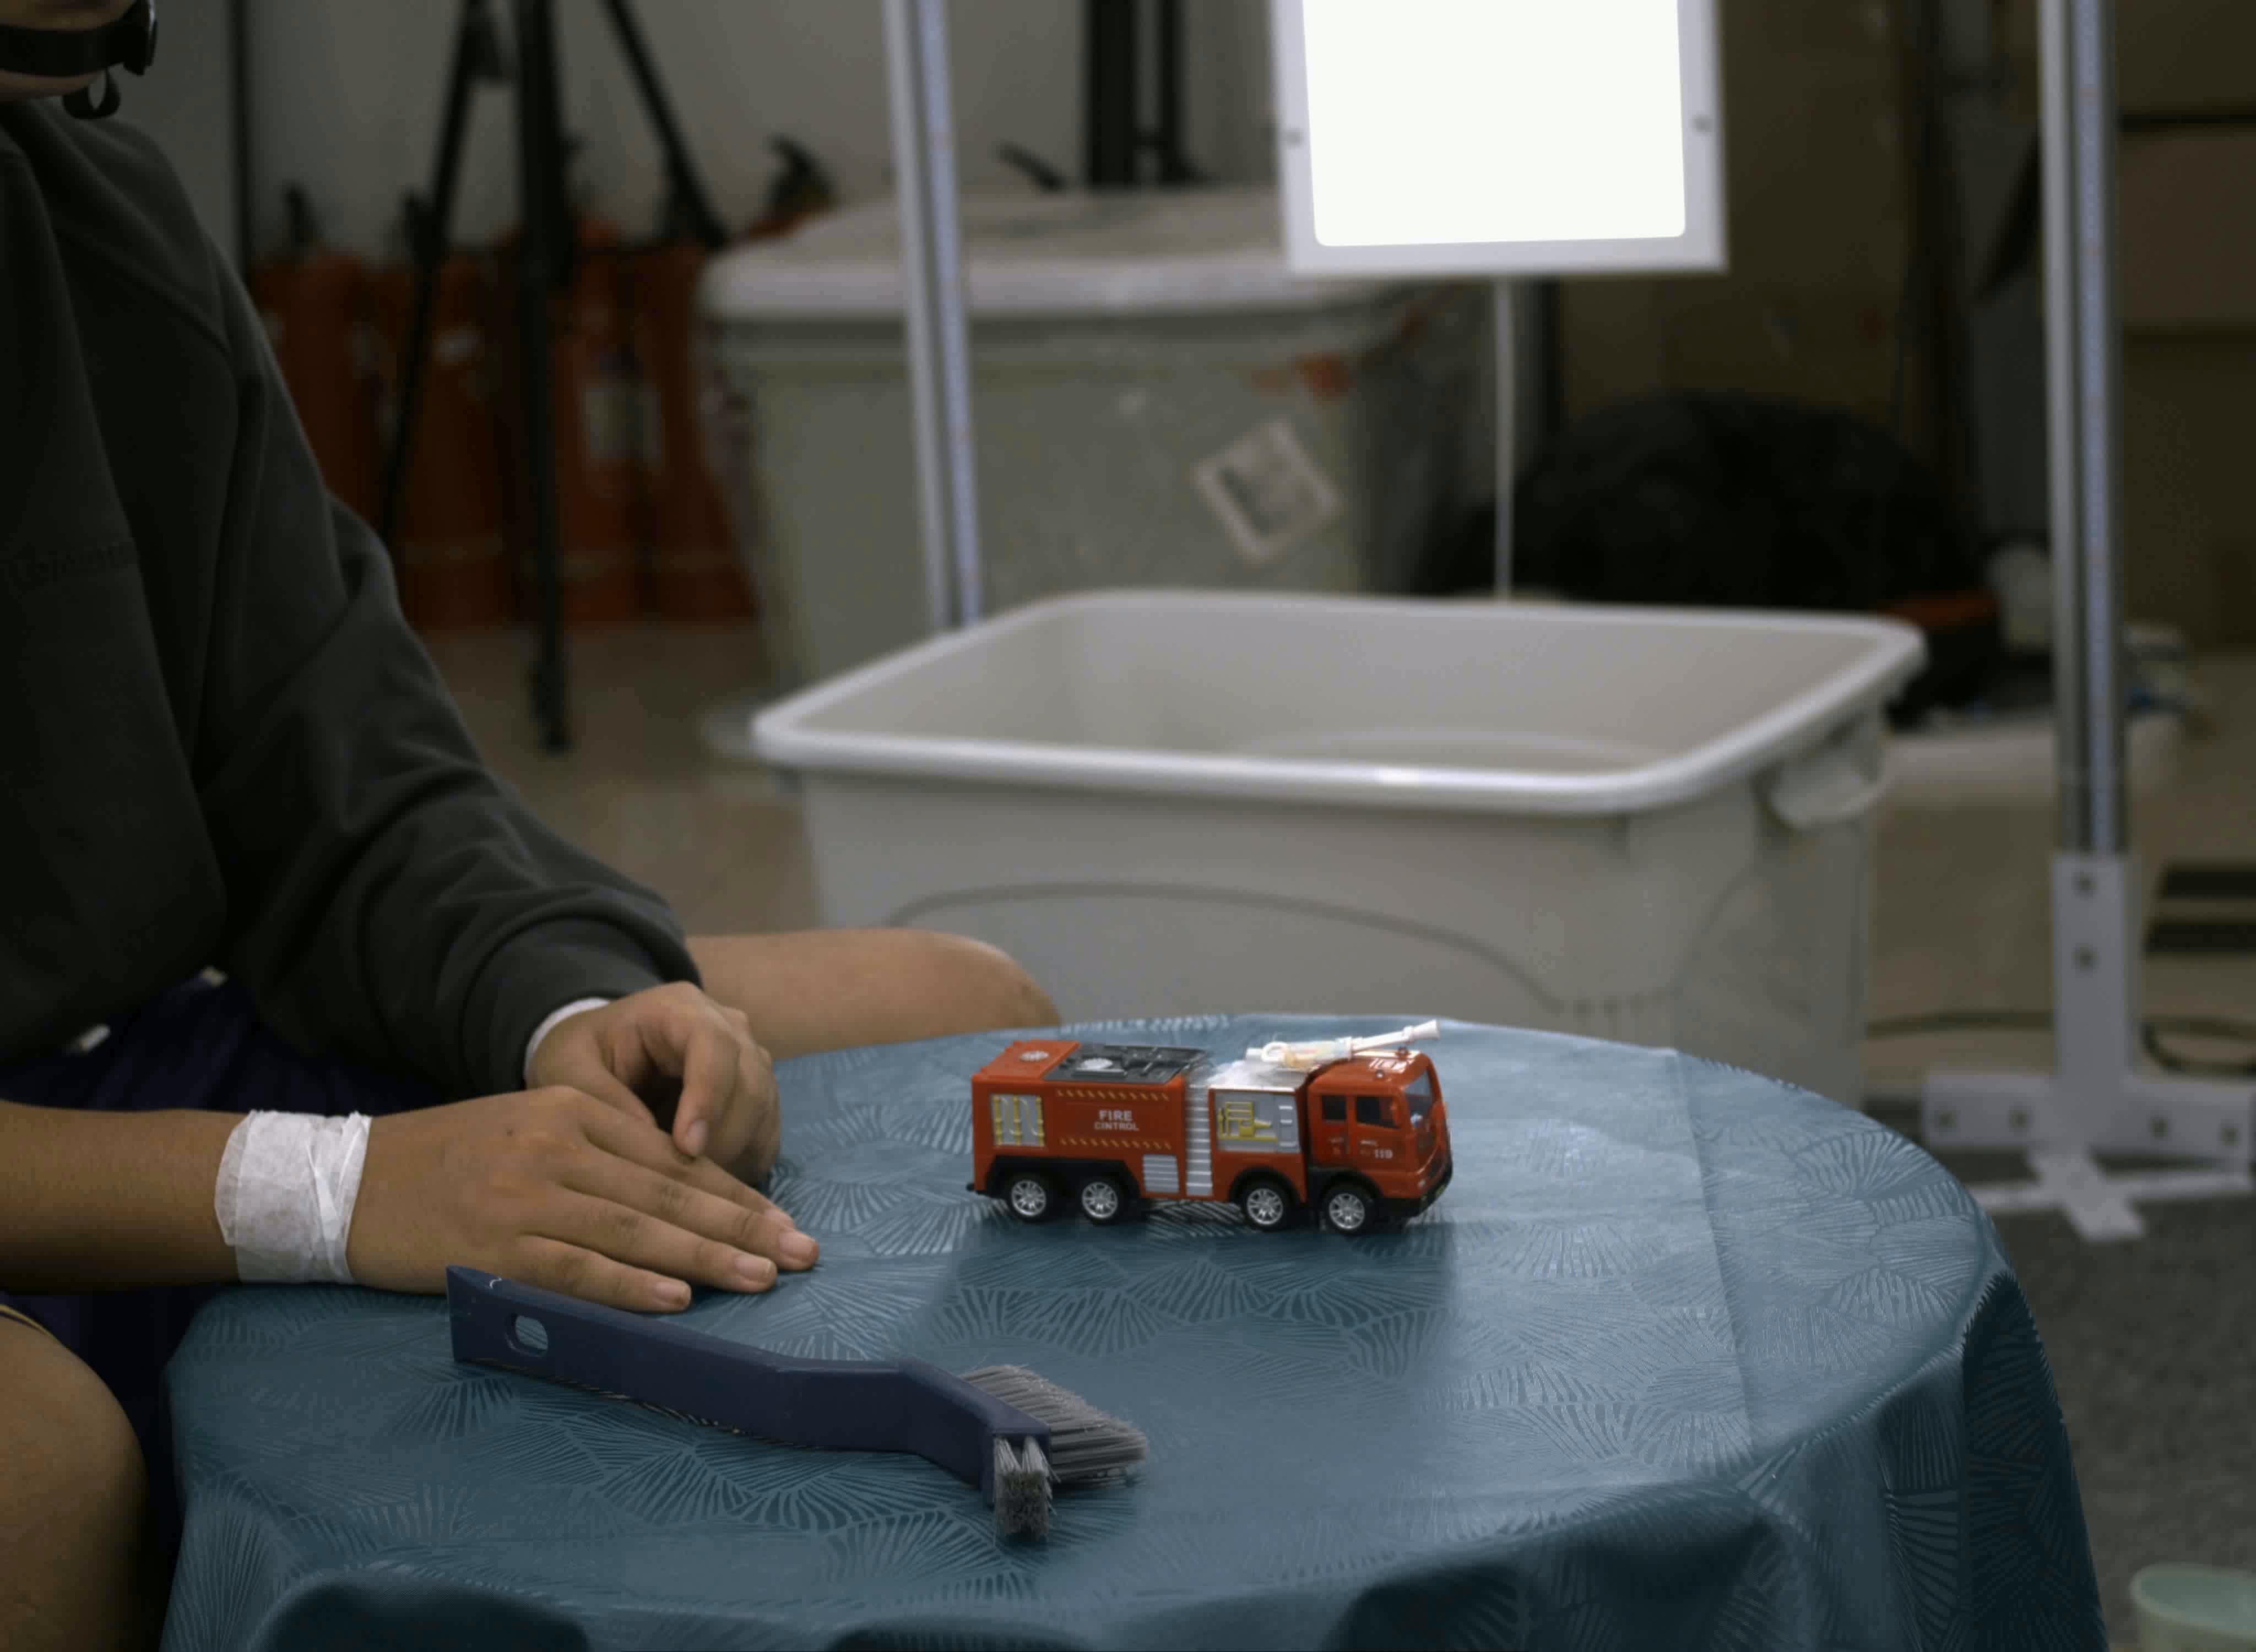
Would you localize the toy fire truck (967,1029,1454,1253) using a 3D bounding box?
[{"bbox_3d":[0.029,0.102,1.861,0.170,0.070,0.053,0,15,22],"label":"toy fire truck"}]

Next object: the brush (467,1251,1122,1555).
[{"bbox_3d":[-0.119,0.173,1.686,0.279,0.033,0.093,6,18,37],"label":"brush"}]
